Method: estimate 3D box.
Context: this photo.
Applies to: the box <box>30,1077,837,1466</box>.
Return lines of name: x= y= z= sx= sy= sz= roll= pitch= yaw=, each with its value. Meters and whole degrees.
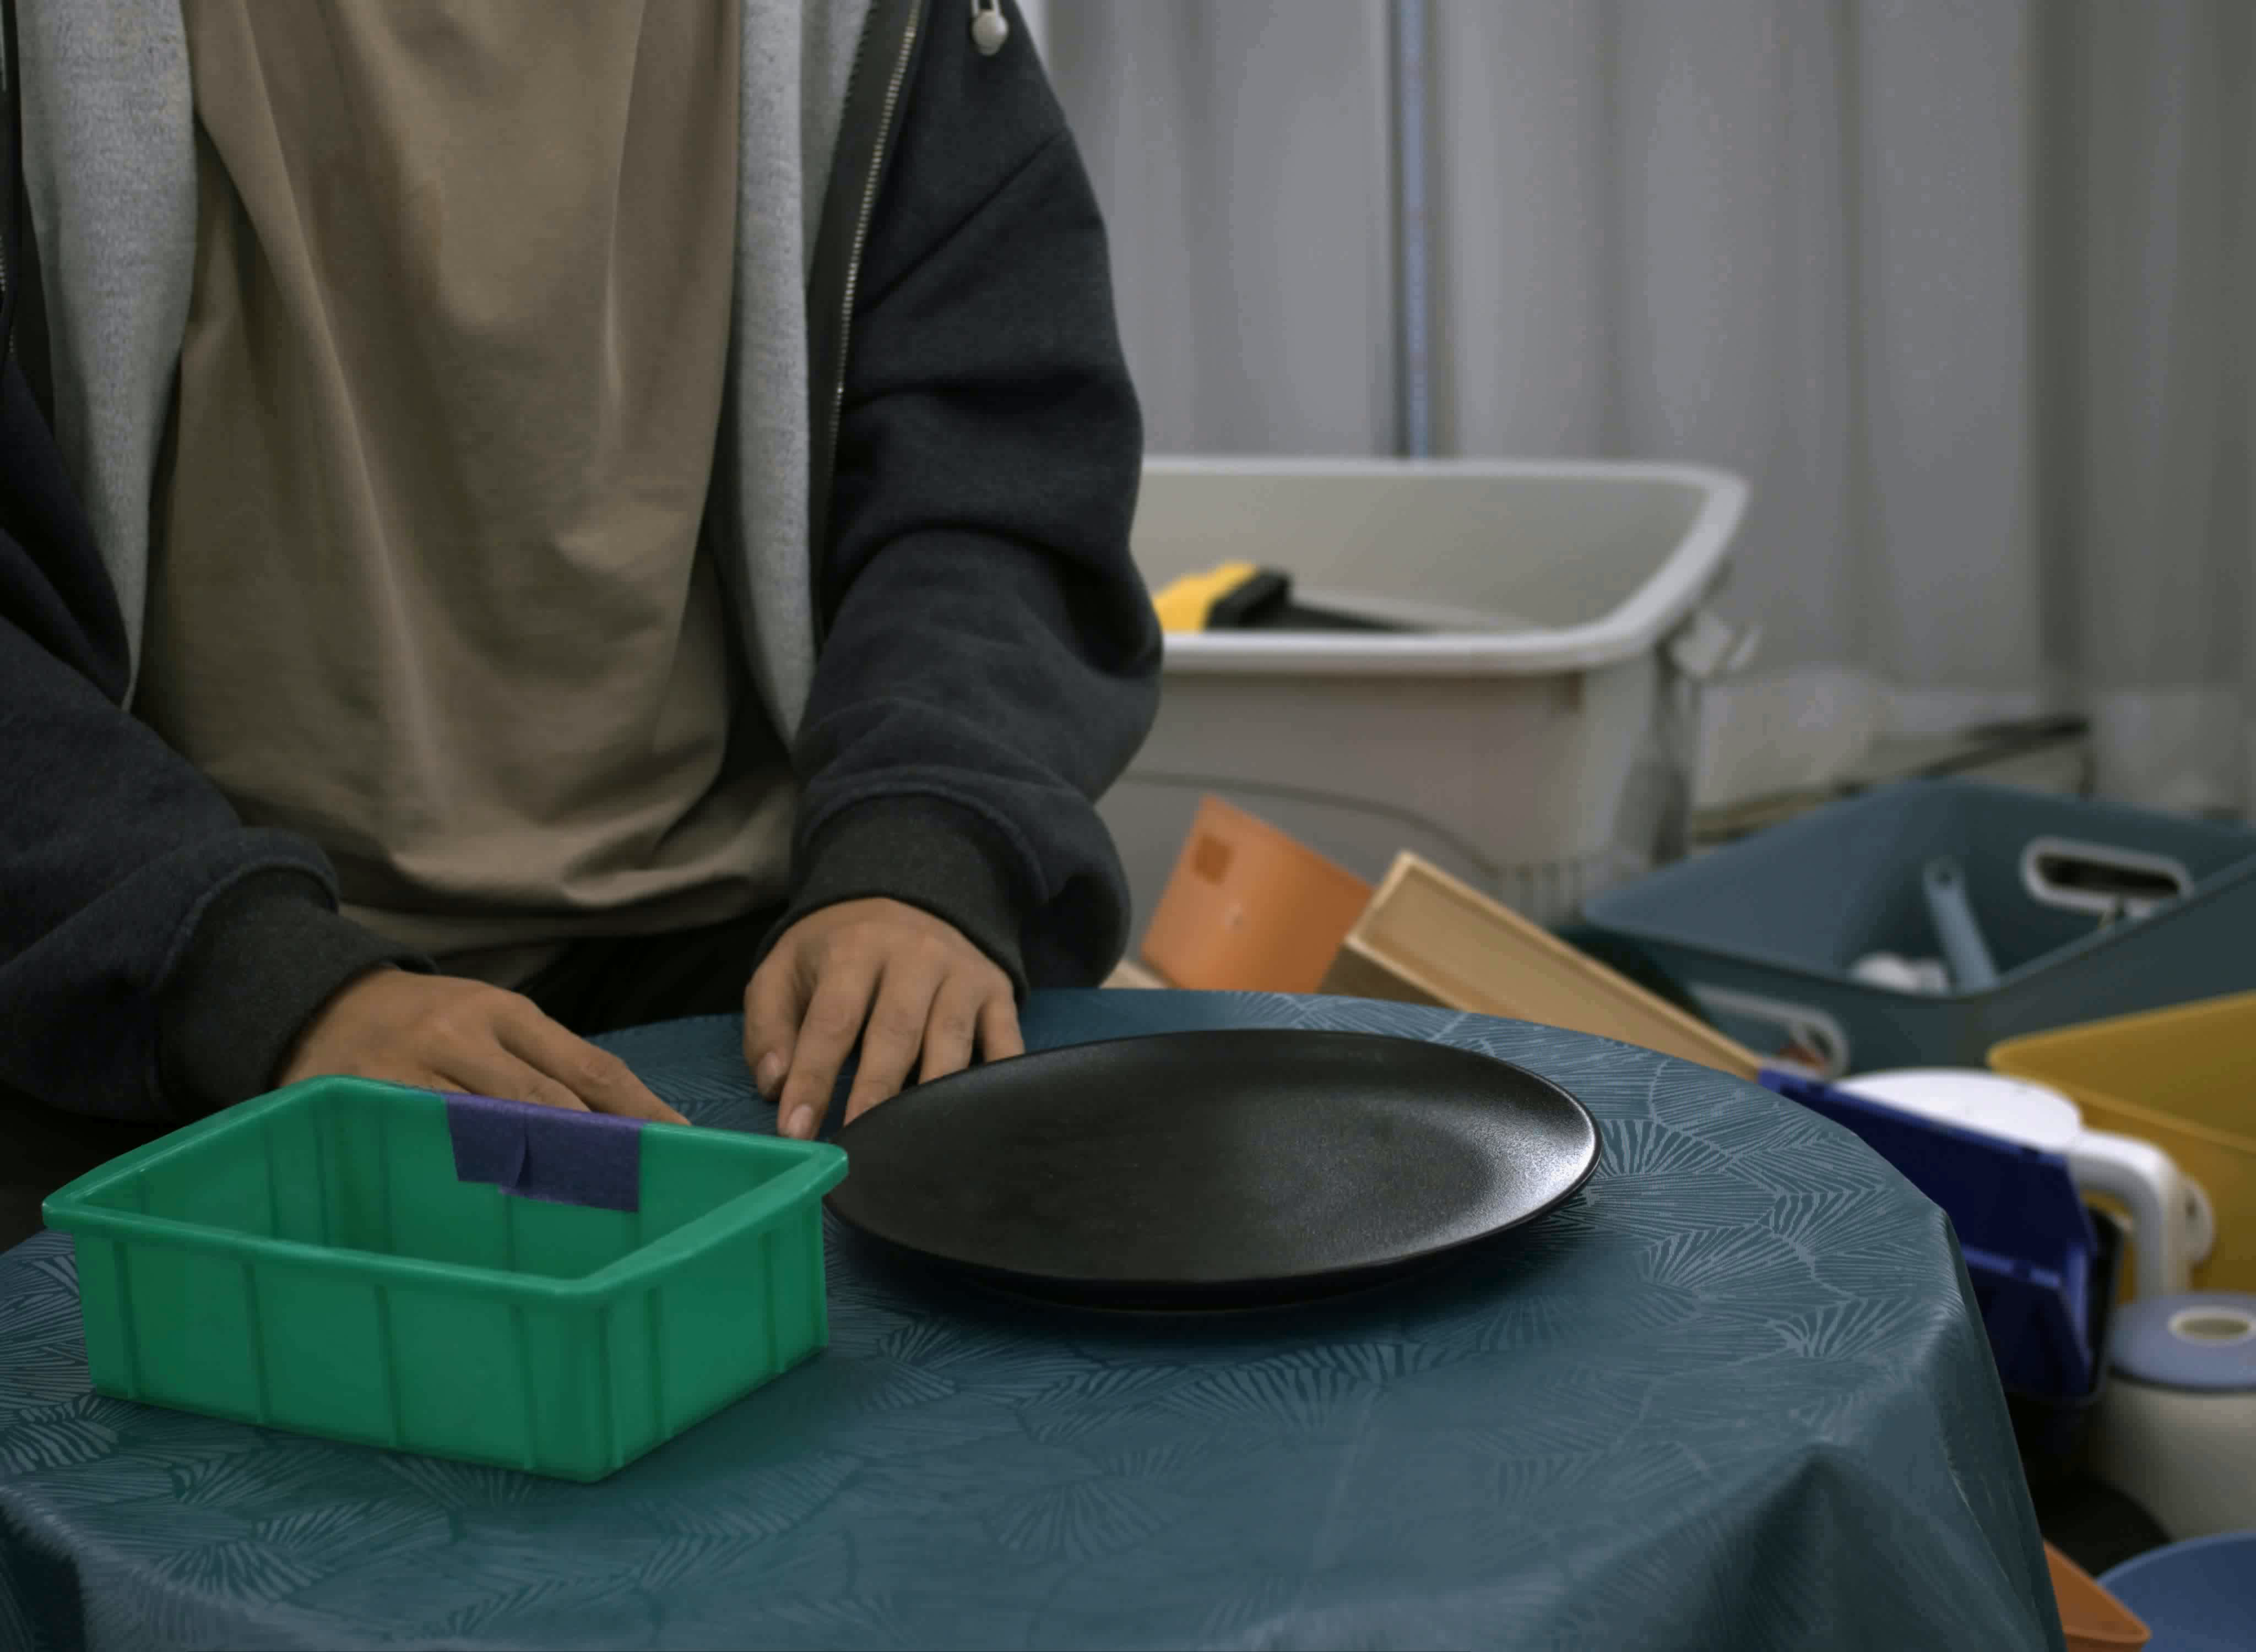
box: x=-0.198 y=0.128 z=1.582 sx=0.211 sy=0.065 sz=0.139 roll=3 pitch=14 yaw=30

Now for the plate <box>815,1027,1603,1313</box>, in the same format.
plate: x=0.025 y=0.109 z=1.689 sx=0.243 sy=0.023 sz=0.246 roll=-3 pitch=15 yaw=1
